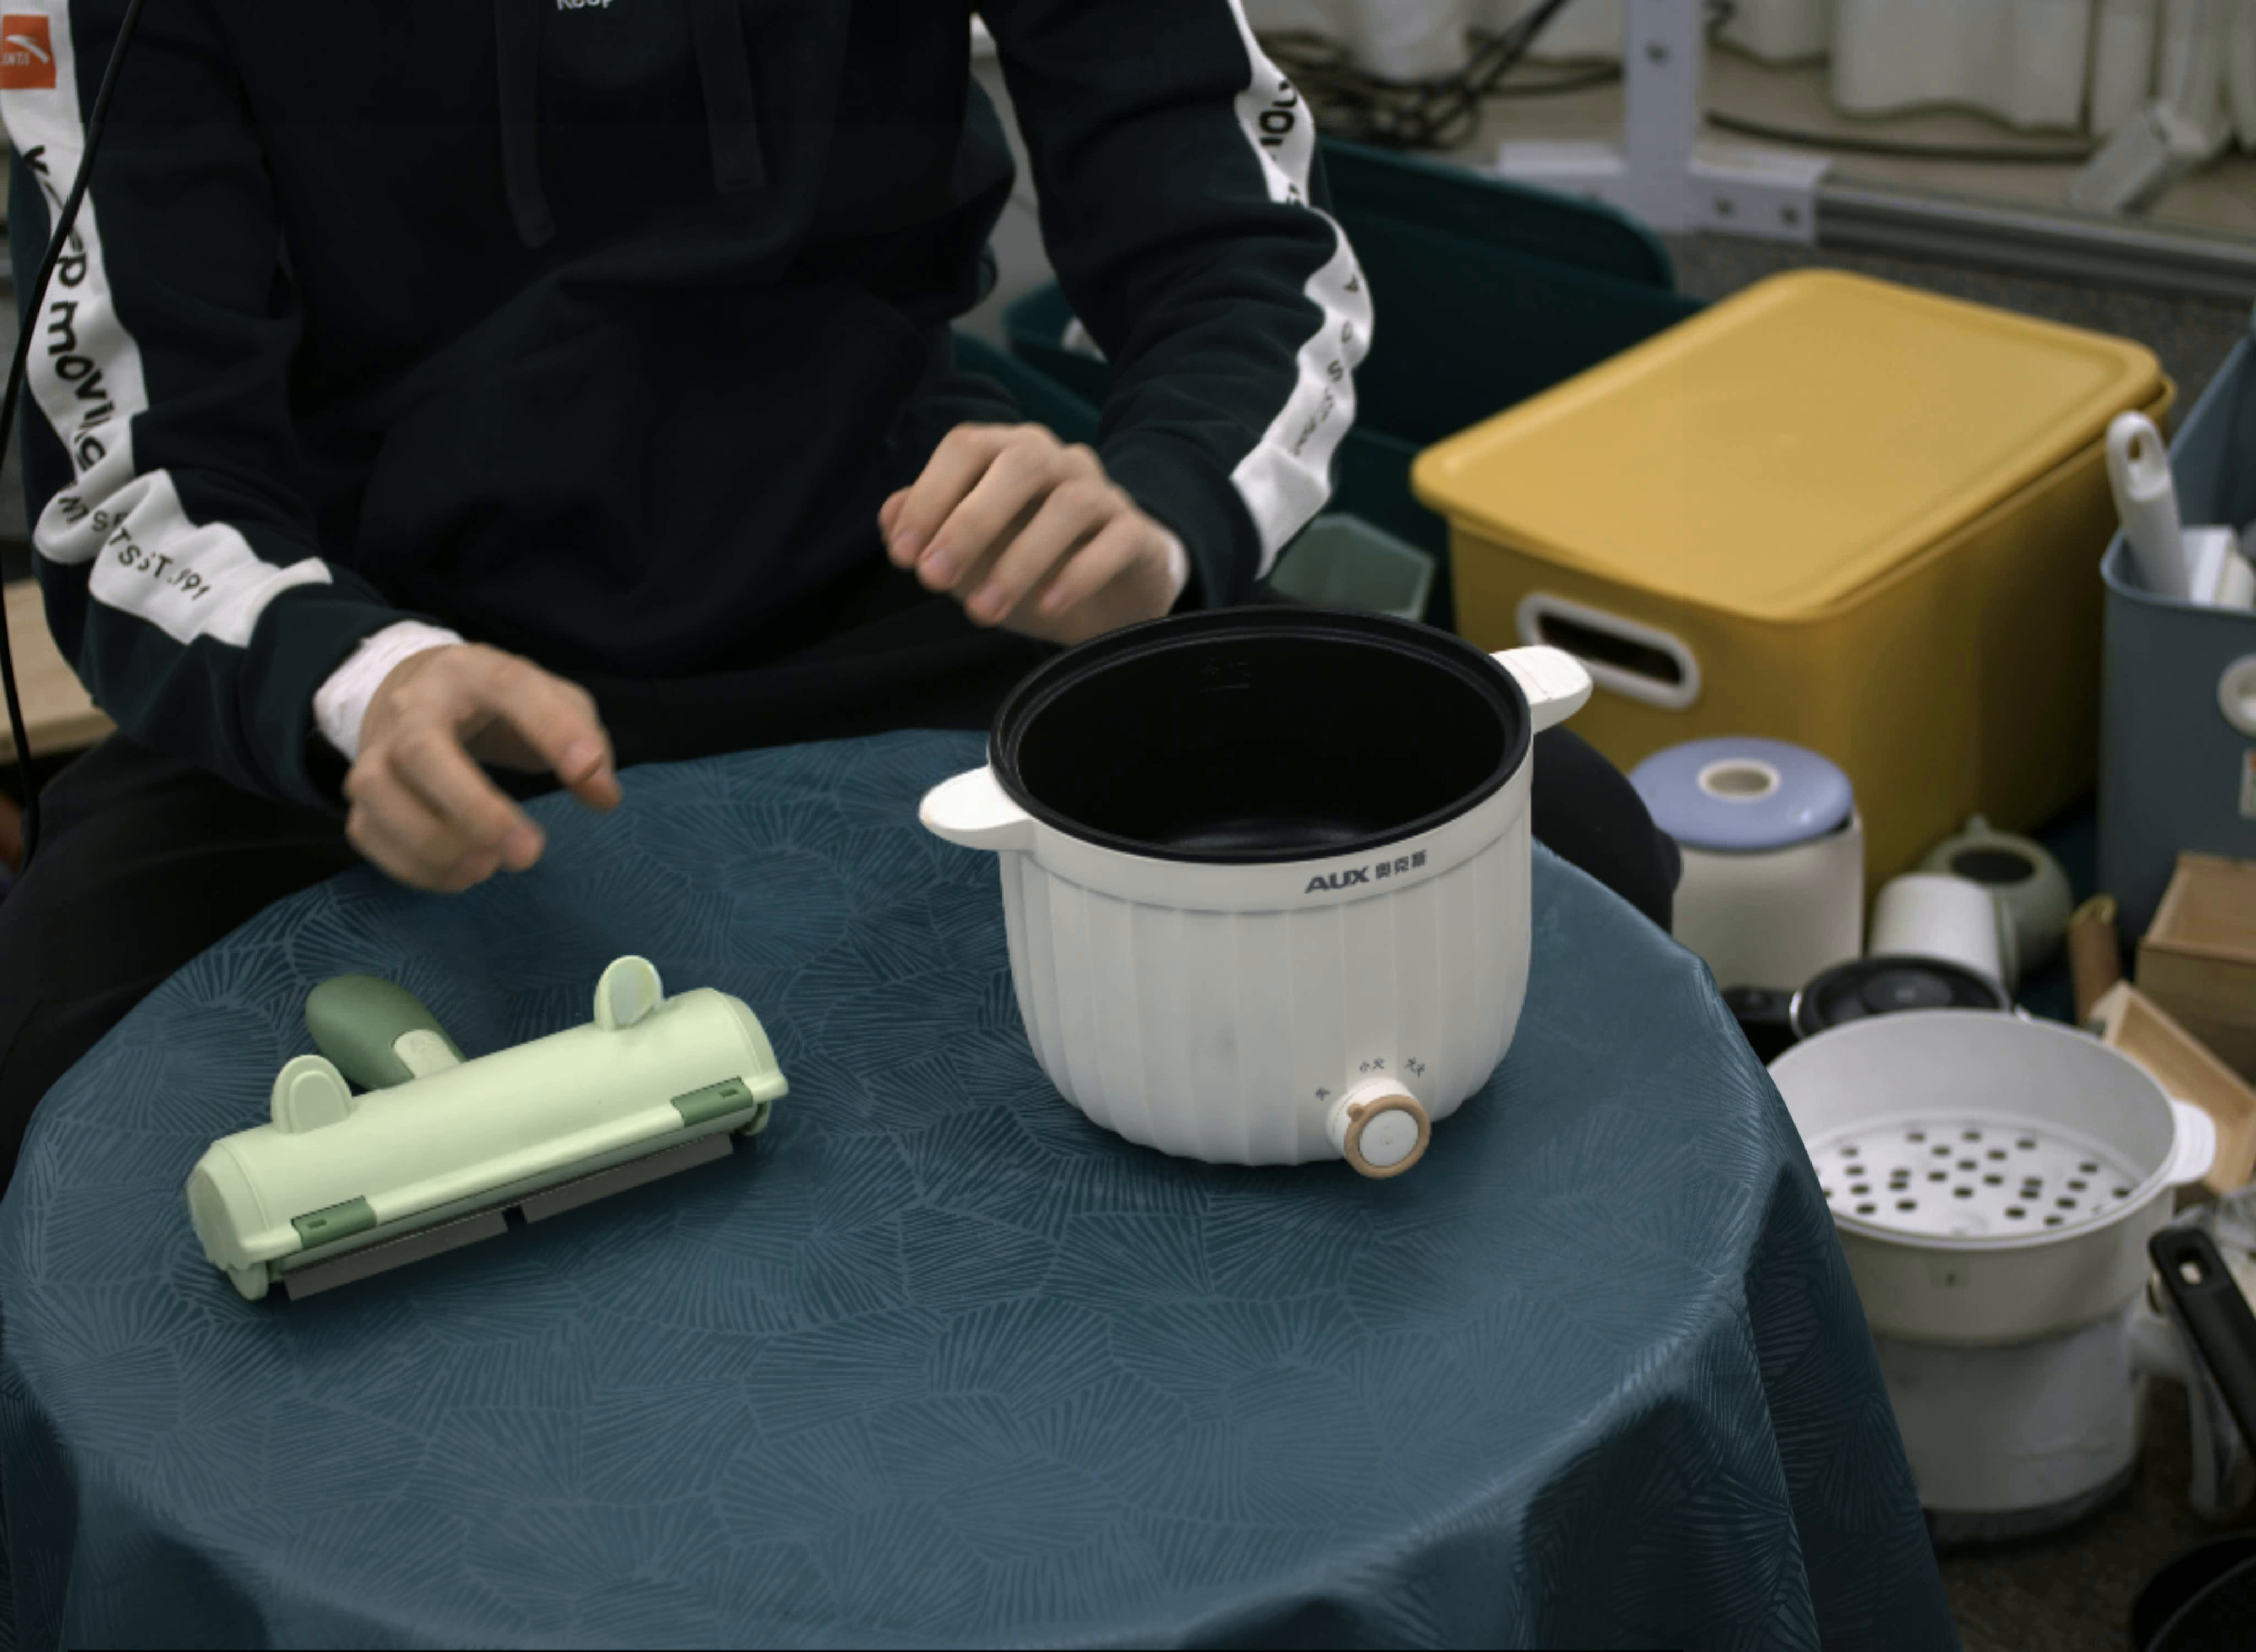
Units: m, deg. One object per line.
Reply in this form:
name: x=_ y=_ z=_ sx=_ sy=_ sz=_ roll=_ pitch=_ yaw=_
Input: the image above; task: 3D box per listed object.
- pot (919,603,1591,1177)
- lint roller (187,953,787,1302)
pot: x=0.051 y=0.027 z=1.890 sx=0.241 sy=0.141 sz=0.191 roll=-14 pitch=26 yaw=-18
lint roller: x=-0.239 y=0.073 z=1.896 sx=0.200 sy=0.081 sz=0.184 roll=-17 pitch=36 yaw=-25
